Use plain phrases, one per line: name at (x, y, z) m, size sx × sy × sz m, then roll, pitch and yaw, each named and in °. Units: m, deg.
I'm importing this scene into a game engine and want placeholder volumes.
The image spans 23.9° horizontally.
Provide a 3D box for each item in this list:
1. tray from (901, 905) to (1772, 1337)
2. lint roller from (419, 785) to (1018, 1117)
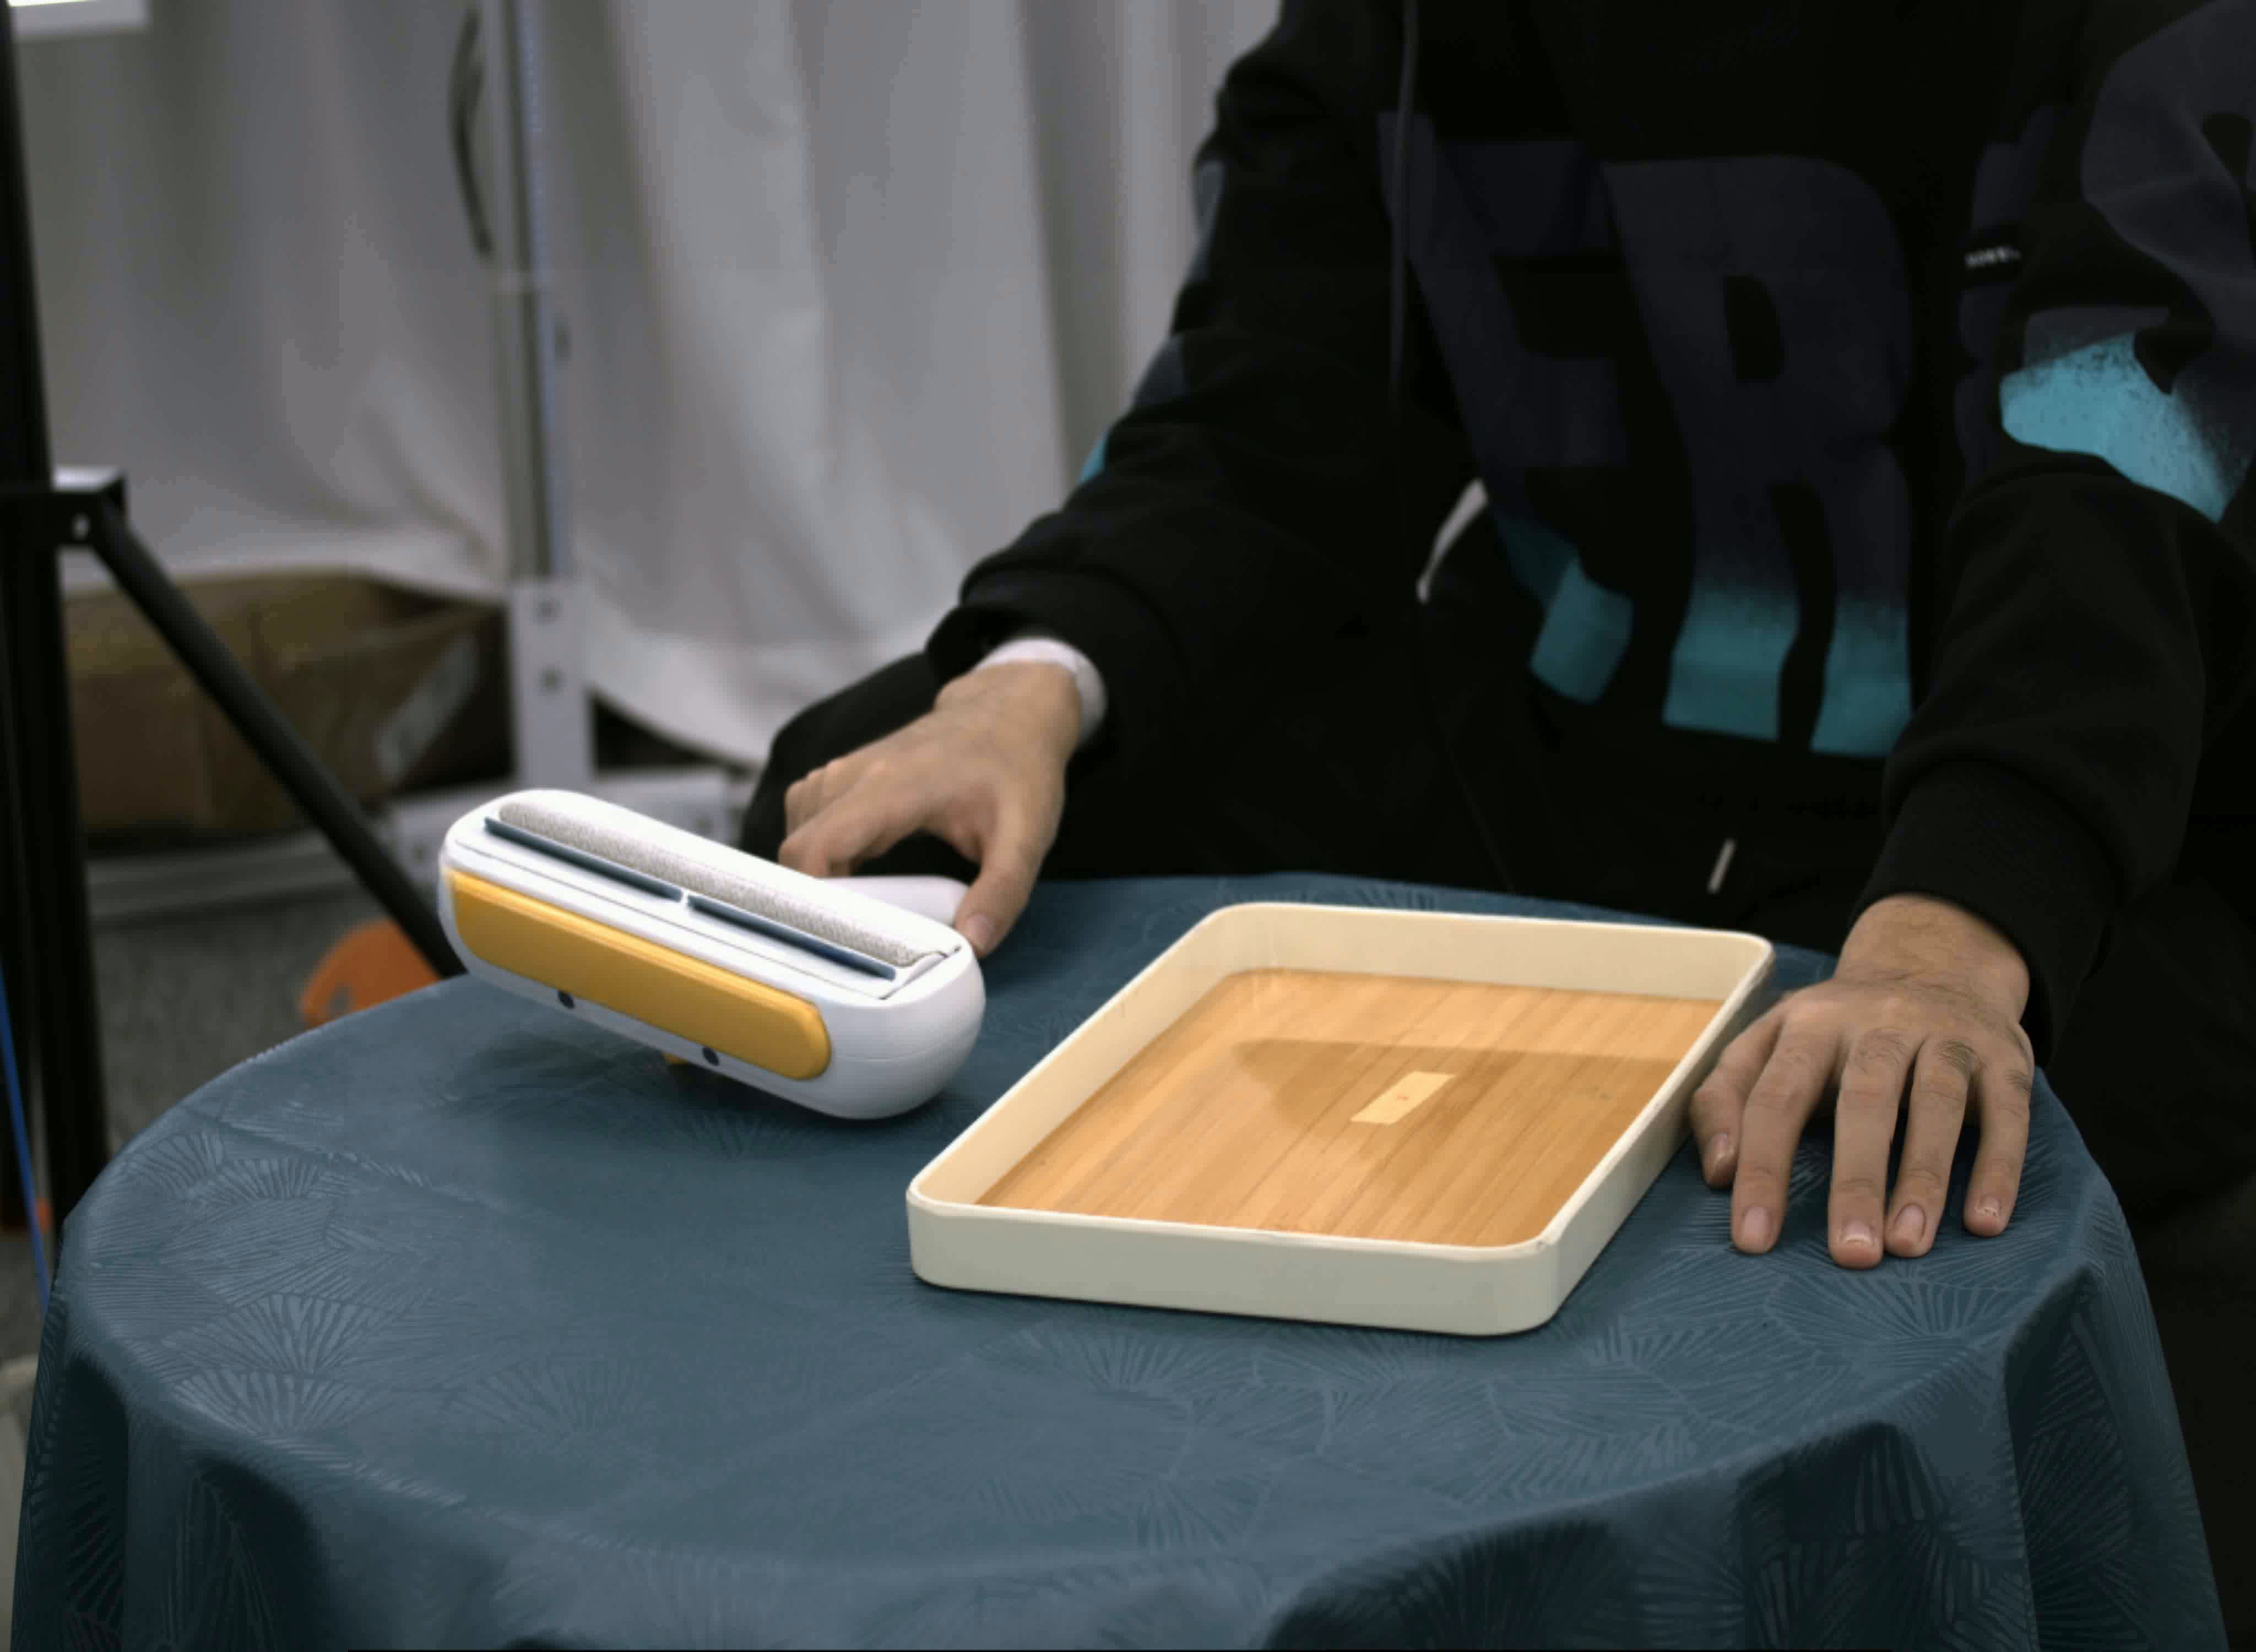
tray at (0.070, 0.083, 1.585) m, size 0.194 × 0.027 × 0.296 m, roll 2°, pitch 17°, yaw 21°
lint roller at (-0.104, 0.032, 1.721) m, size 0.197 × 0.074 × 0.188 m, roll 16°, pitch 22°, yaw 35°
